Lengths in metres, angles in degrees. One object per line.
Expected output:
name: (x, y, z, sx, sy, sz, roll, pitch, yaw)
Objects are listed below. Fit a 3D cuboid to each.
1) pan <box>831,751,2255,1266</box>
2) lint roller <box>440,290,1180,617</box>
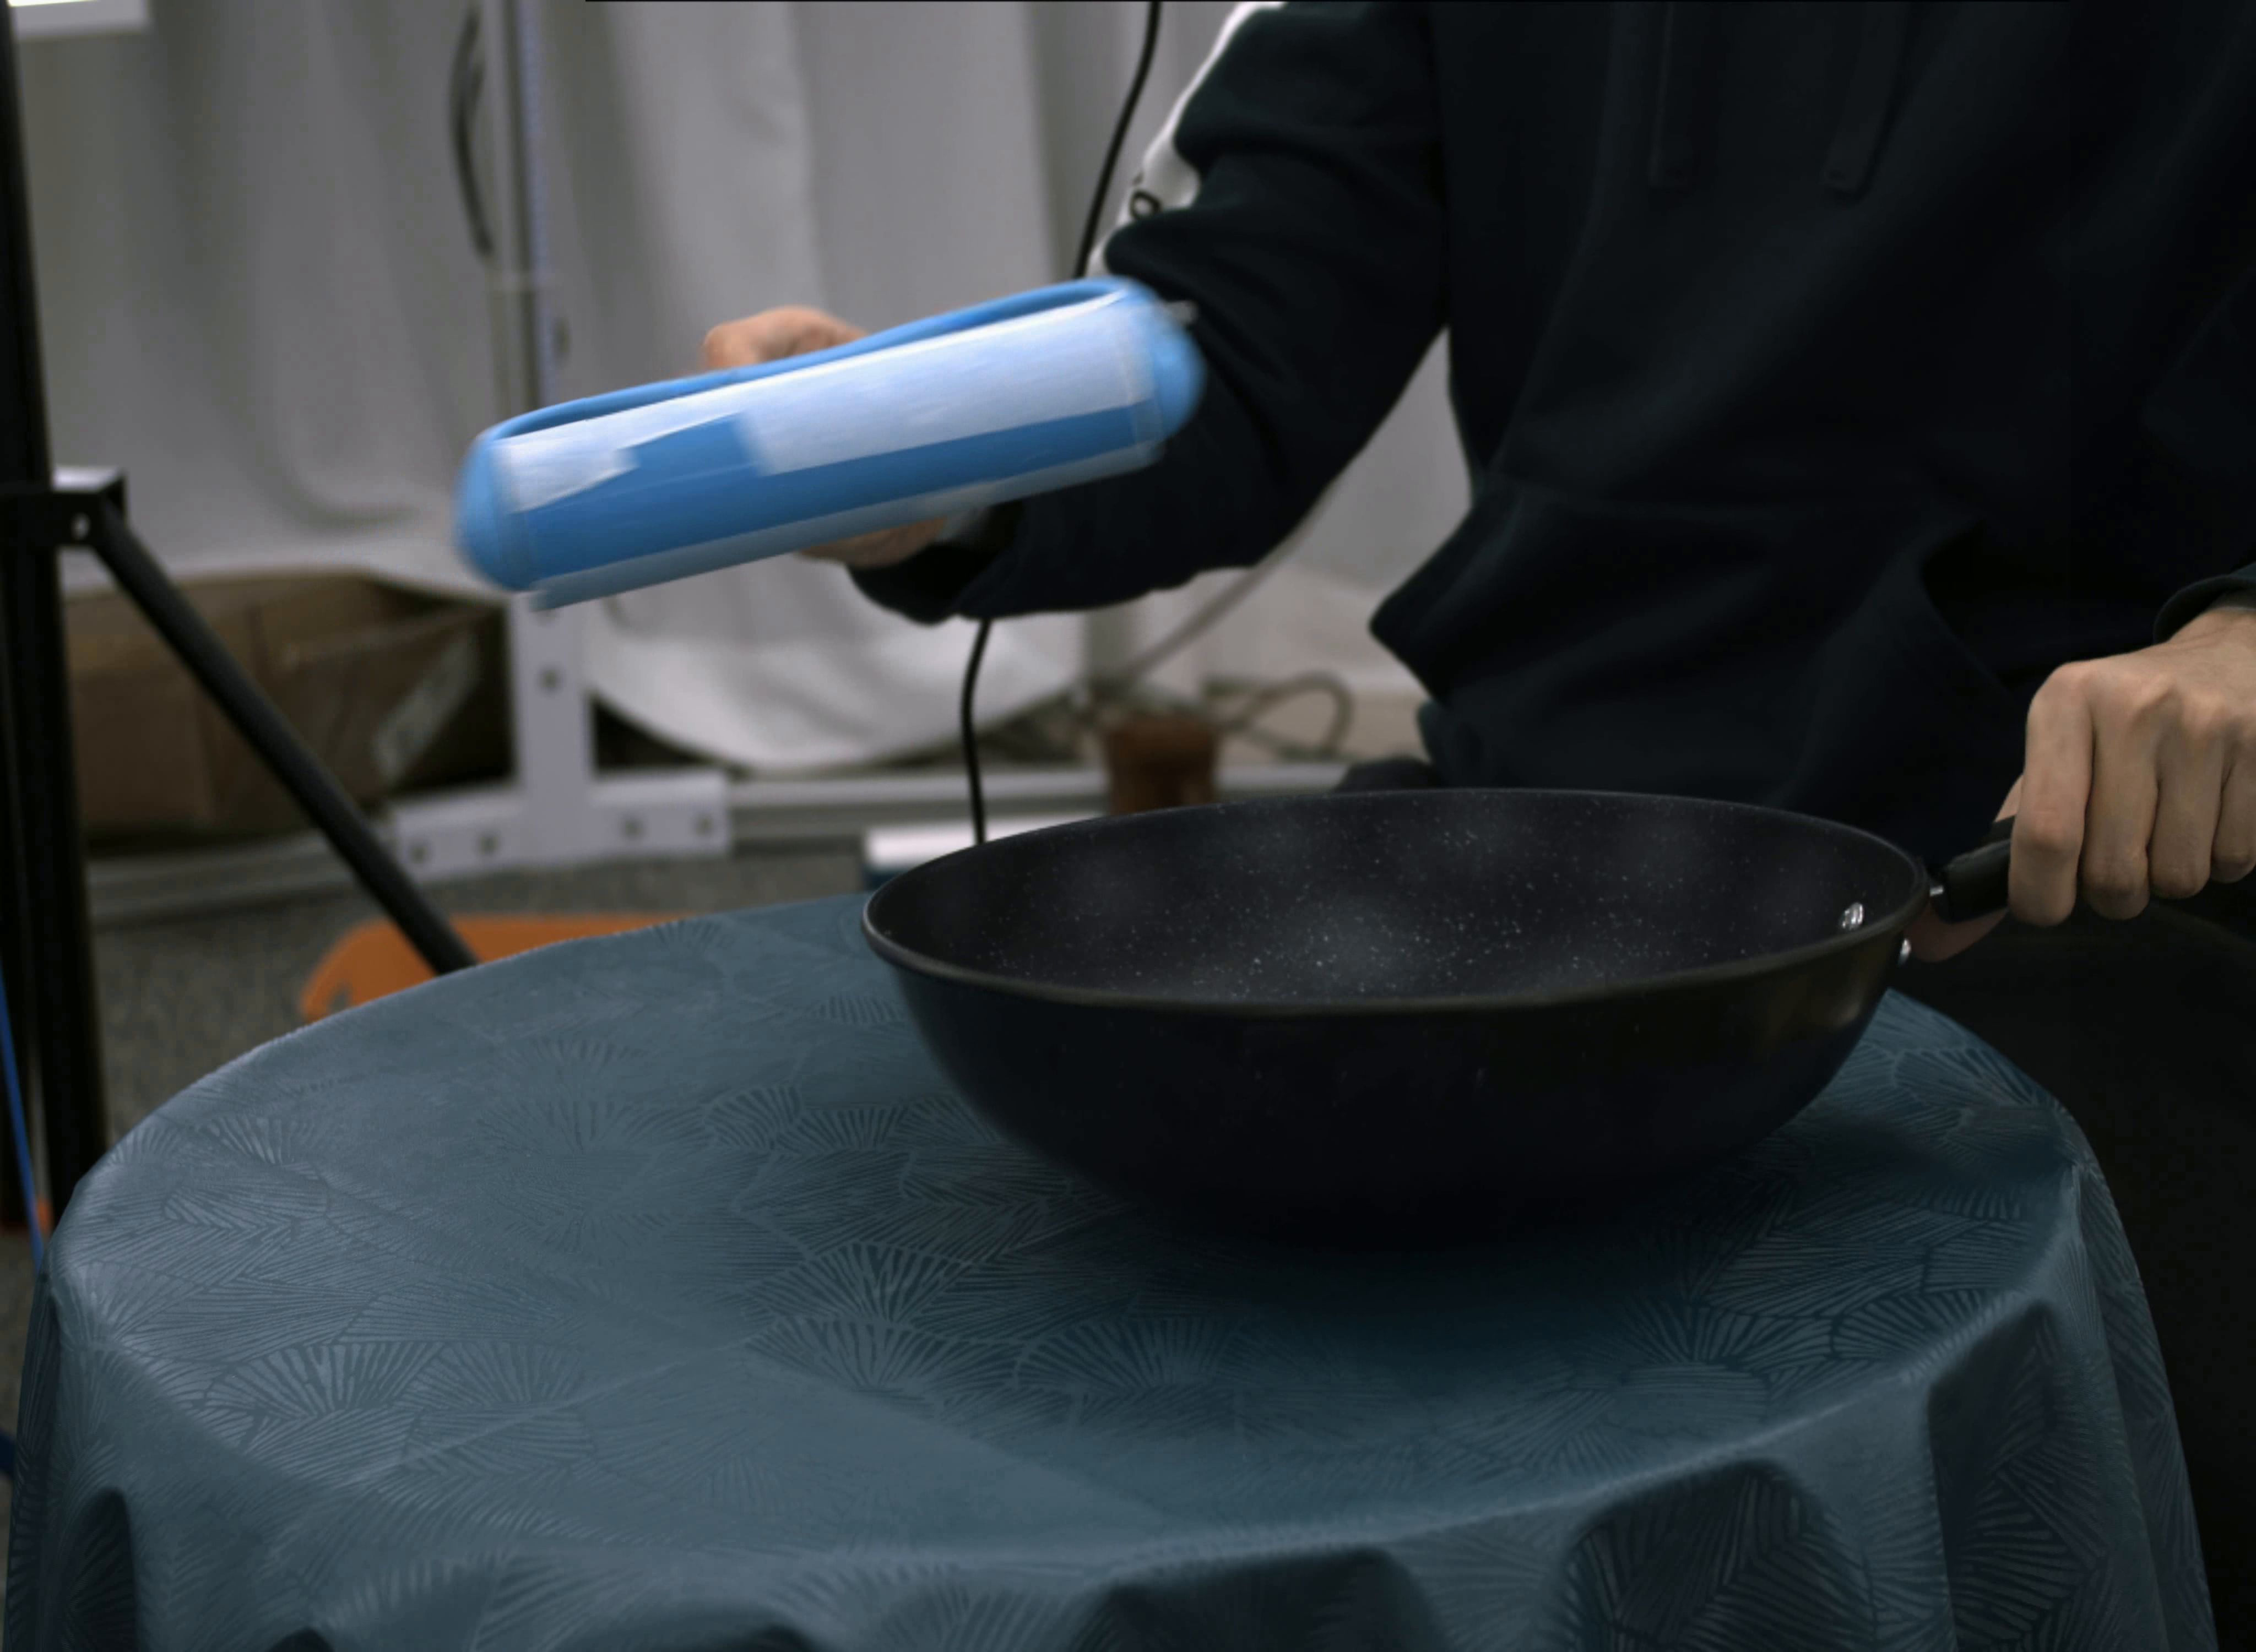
pan: (0.152, 0.045, 1.541, 0.472, 0.112, 0.313, -4, 13, -7)
lint roller: (-0.100, -0.113, 1.672, 0.228, 0.068, 0.180, -14, 2, -2)
